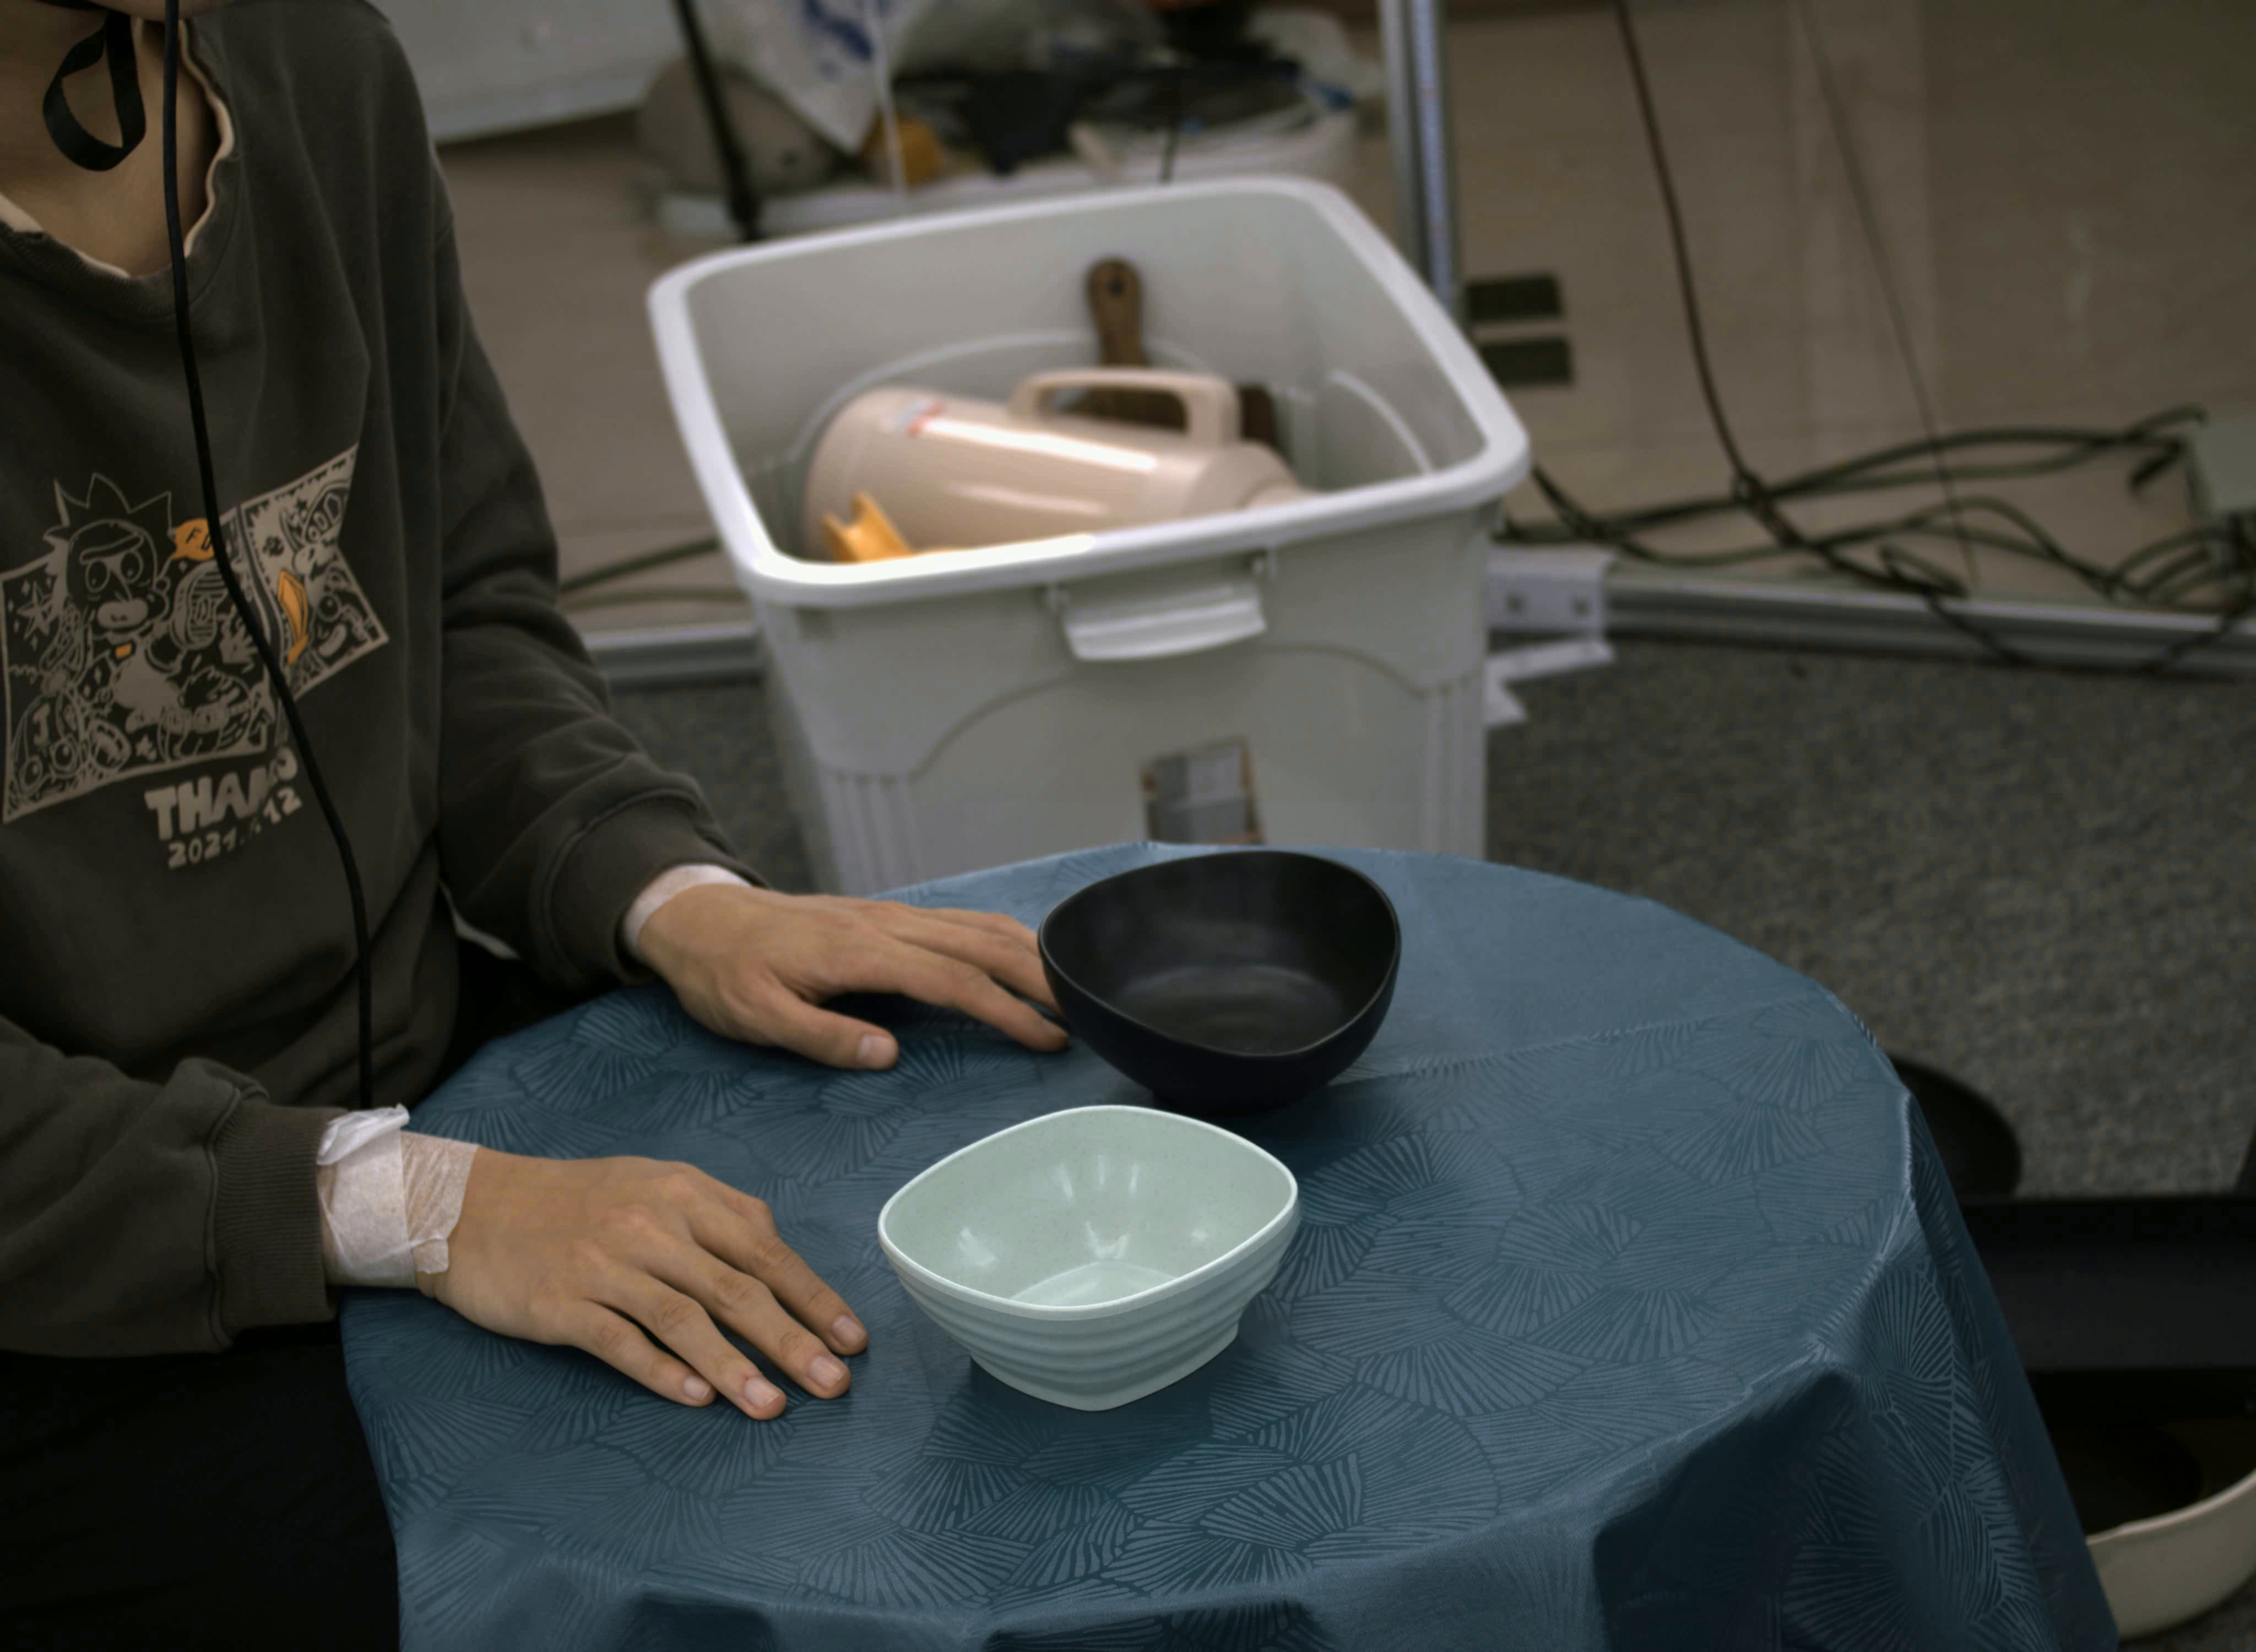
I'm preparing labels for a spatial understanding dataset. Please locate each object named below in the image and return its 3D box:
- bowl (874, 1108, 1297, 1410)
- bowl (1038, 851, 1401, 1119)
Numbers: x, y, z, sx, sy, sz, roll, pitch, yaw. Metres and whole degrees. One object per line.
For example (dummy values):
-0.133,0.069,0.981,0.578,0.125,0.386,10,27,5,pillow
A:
-0.014,0.161,2.035,0.151,0.059,0.149,-4,24,2,bowl
0.039,0.069,2.211,0.137,0.068,0.168,-15,28,-17,bowl
